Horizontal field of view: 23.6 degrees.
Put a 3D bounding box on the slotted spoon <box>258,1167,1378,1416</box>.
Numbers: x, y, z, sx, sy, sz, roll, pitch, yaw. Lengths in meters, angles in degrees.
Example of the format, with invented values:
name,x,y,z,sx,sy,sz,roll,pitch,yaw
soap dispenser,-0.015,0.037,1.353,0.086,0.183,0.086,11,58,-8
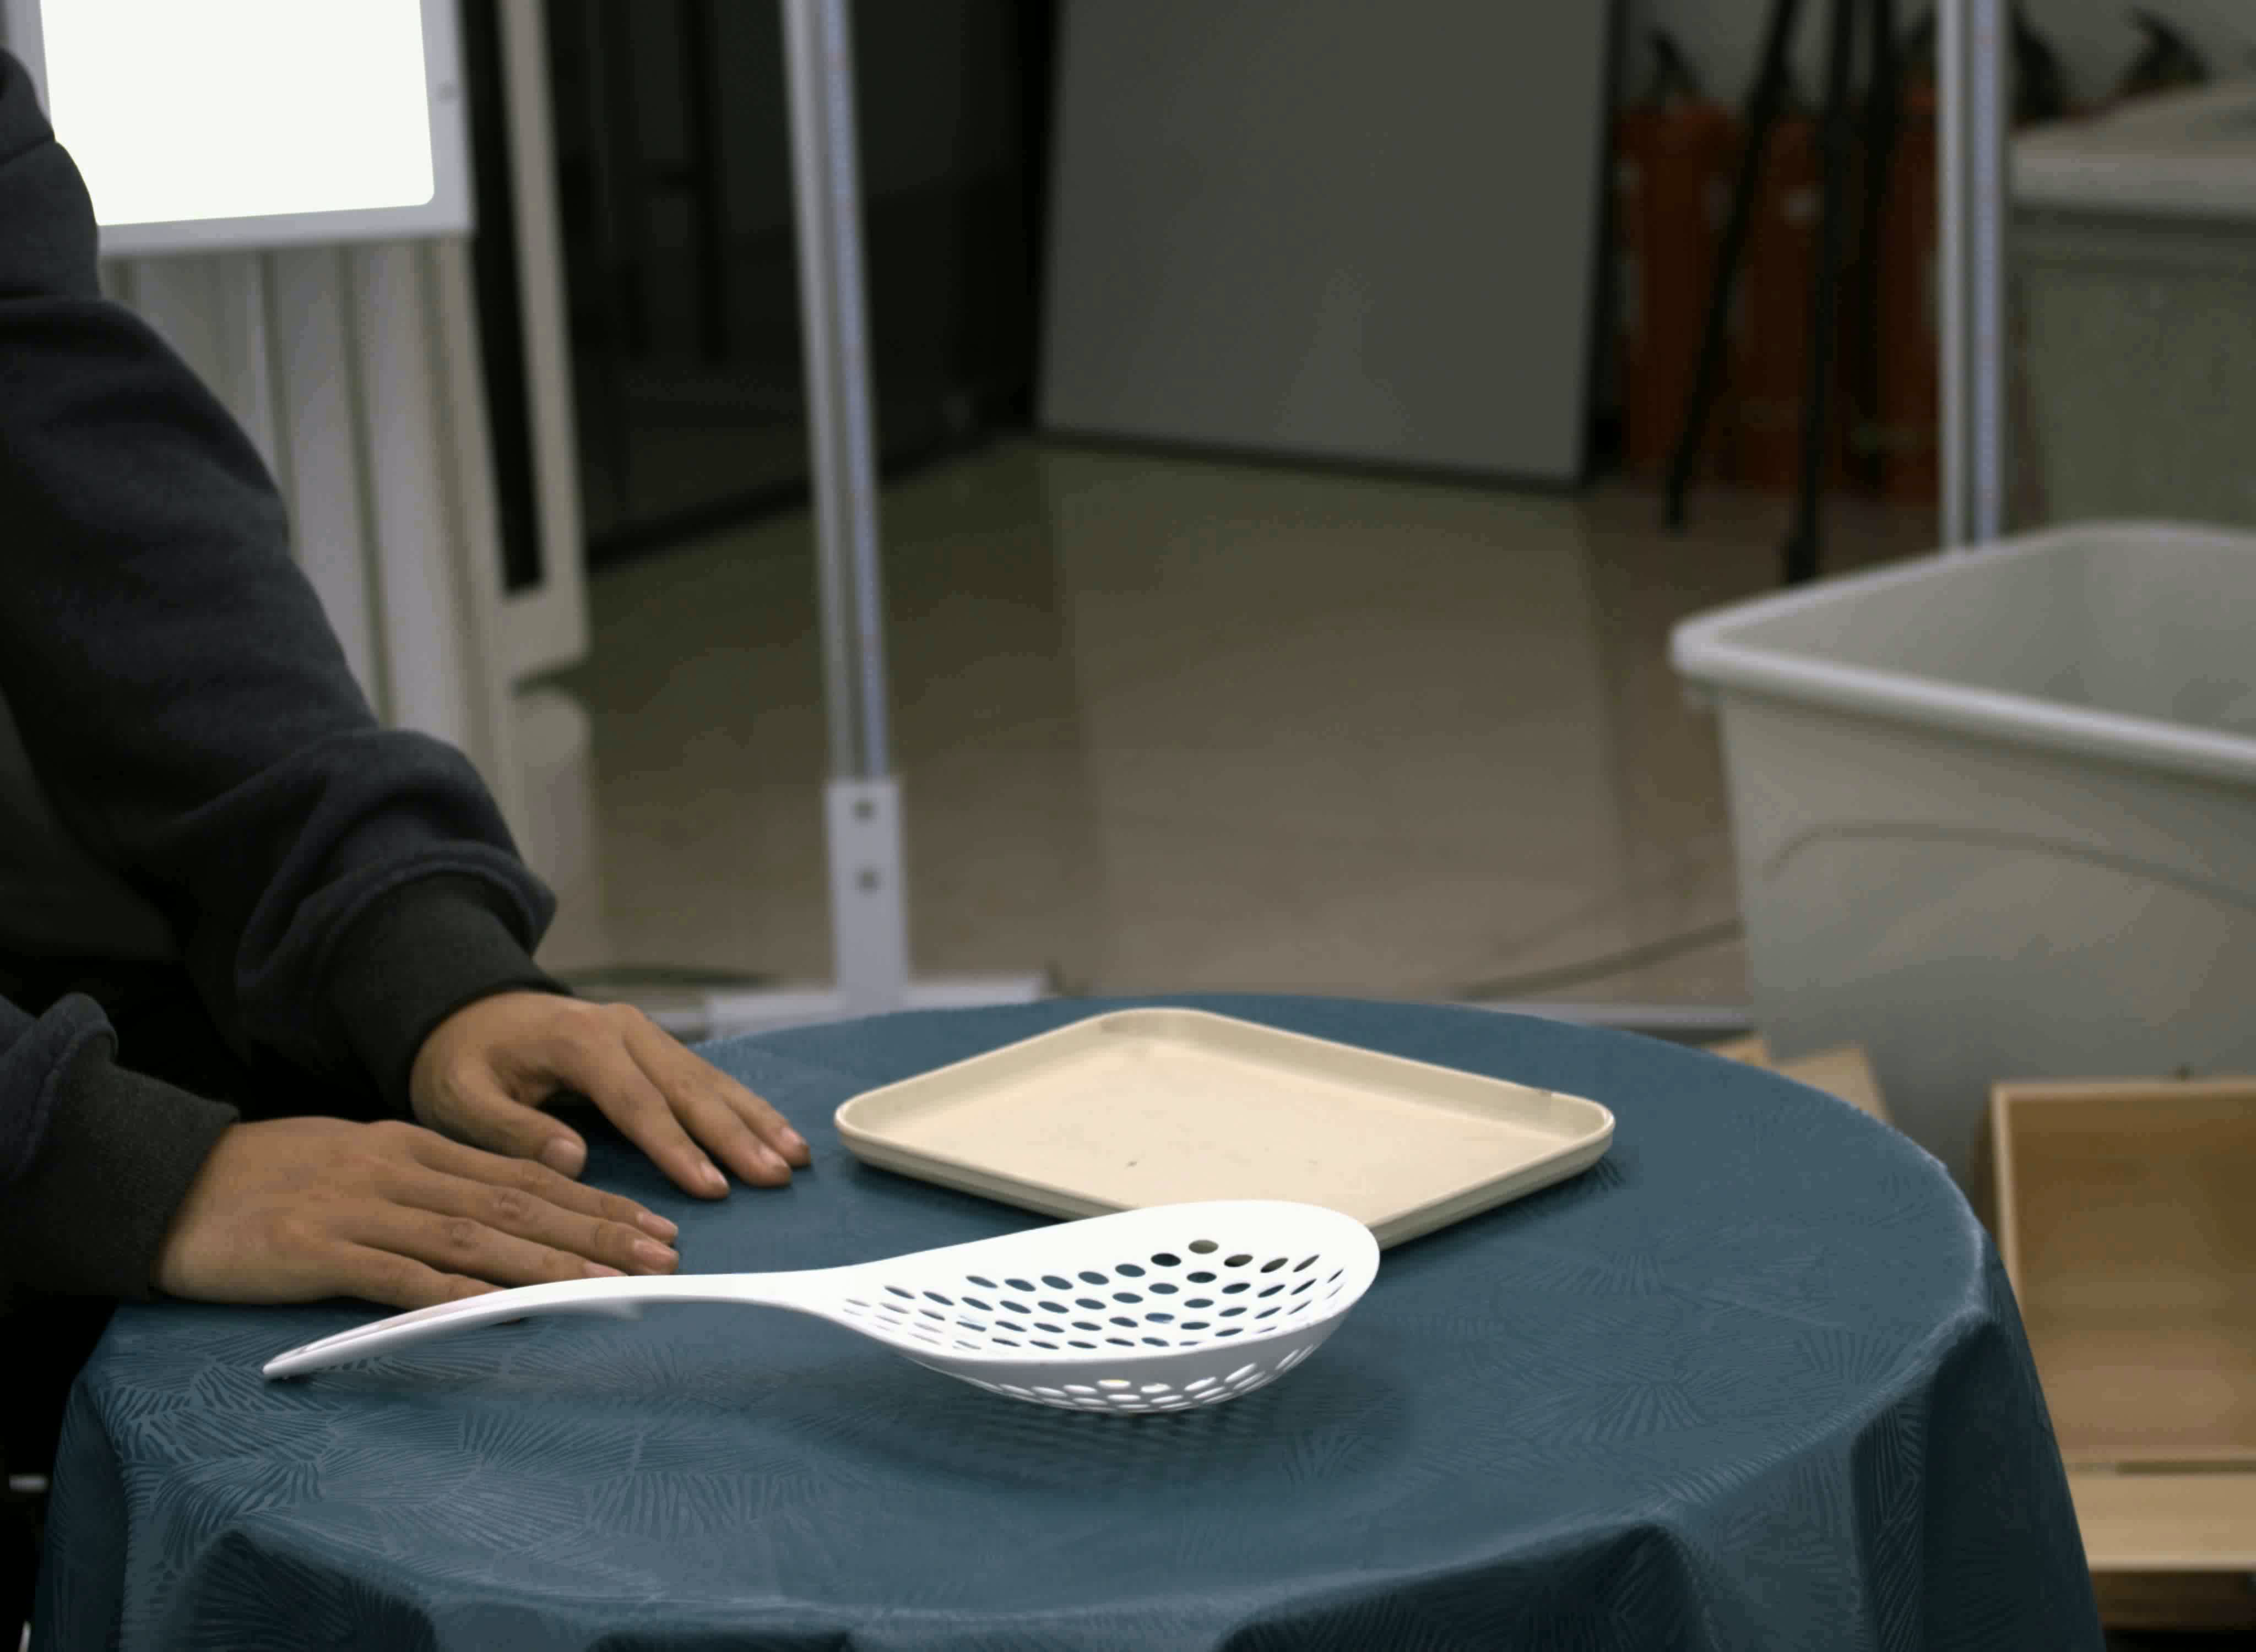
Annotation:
name,x,y,z,sx,sy,sz,roll,pitch,yaw
slotted spoon,-0.095,0.148,1.600,0.346,0.051,0.136,-1,17,14

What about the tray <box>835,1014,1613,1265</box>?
name,x,y,z,sx,sy,sz,roll,pitch,yaw
tray,0.030,0.104,1.792,0.168,0.017,0.242,-17,19,-41
